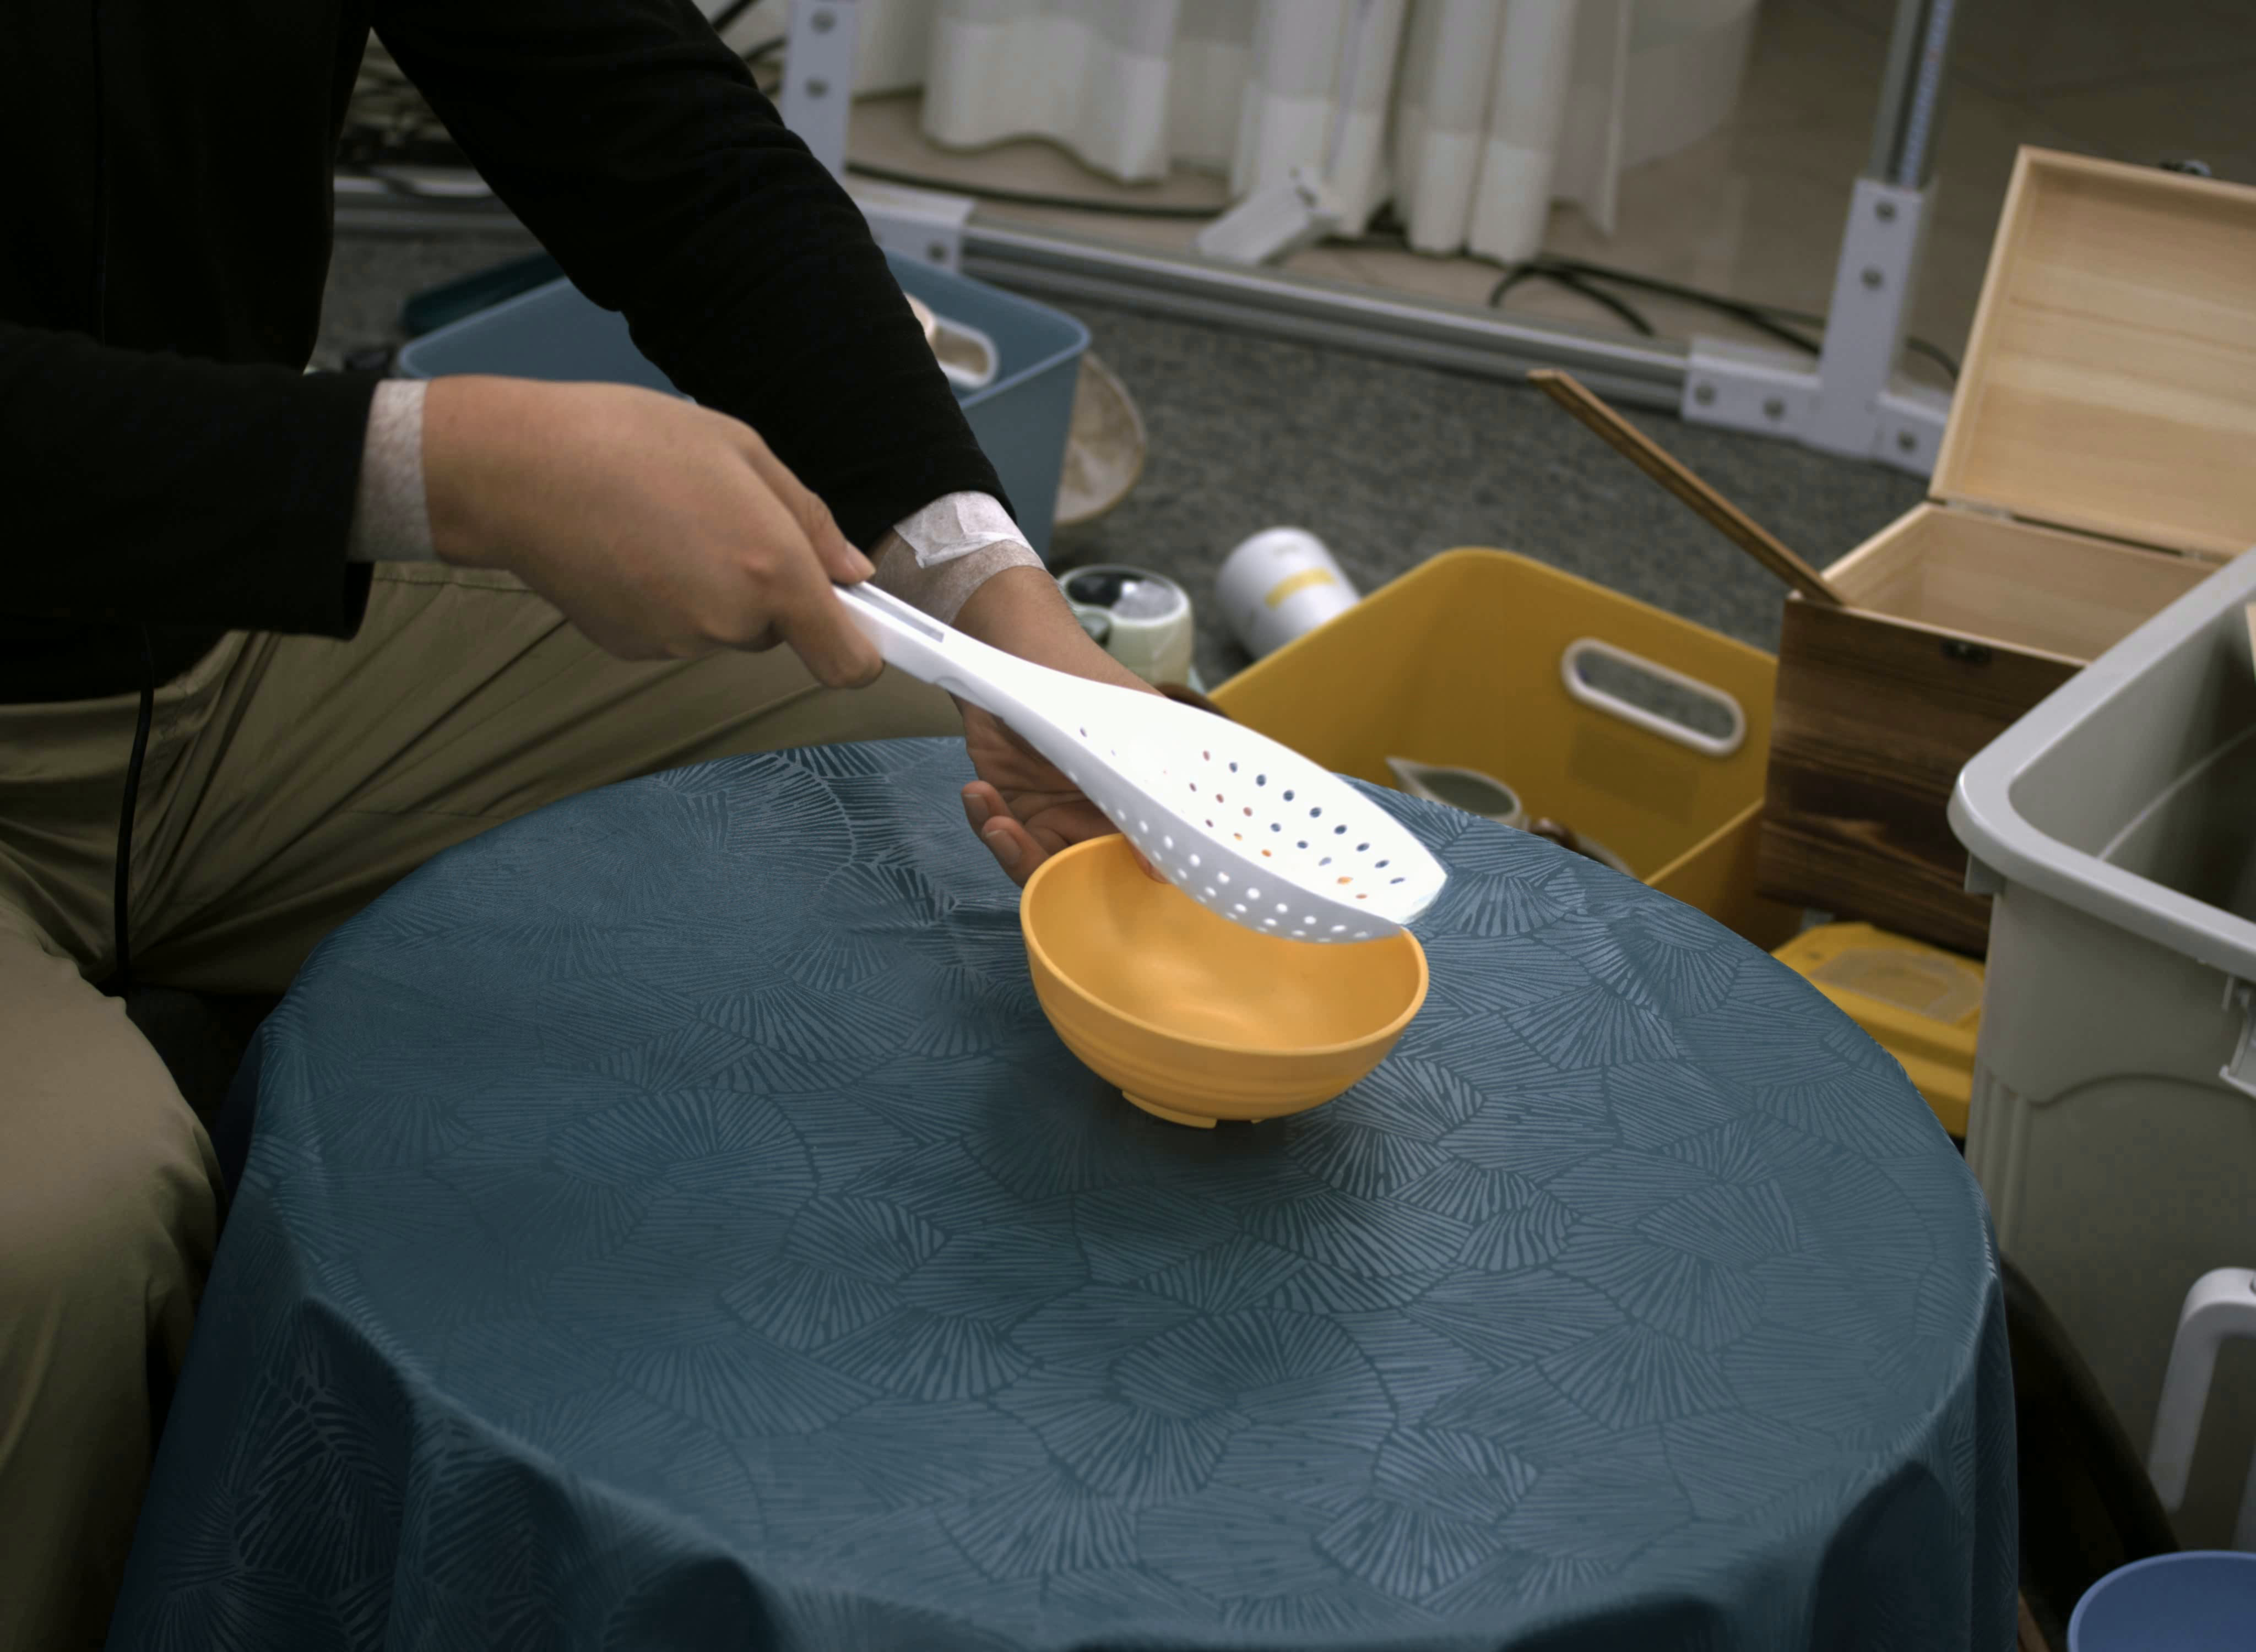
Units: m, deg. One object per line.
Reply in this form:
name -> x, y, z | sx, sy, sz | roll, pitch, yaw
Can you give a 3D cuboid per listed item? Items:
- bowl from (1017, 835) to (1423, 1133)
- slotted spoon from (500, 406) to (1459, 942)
bowl -> 0.027, 0.065, 1.857 | 0.145, 0.060, 0.146 | 10, 28, -5
slotted spoon -> -0.049, -0.051, 1.758 | 0.348, 0.046, 0.136 | 32, 18, -6
